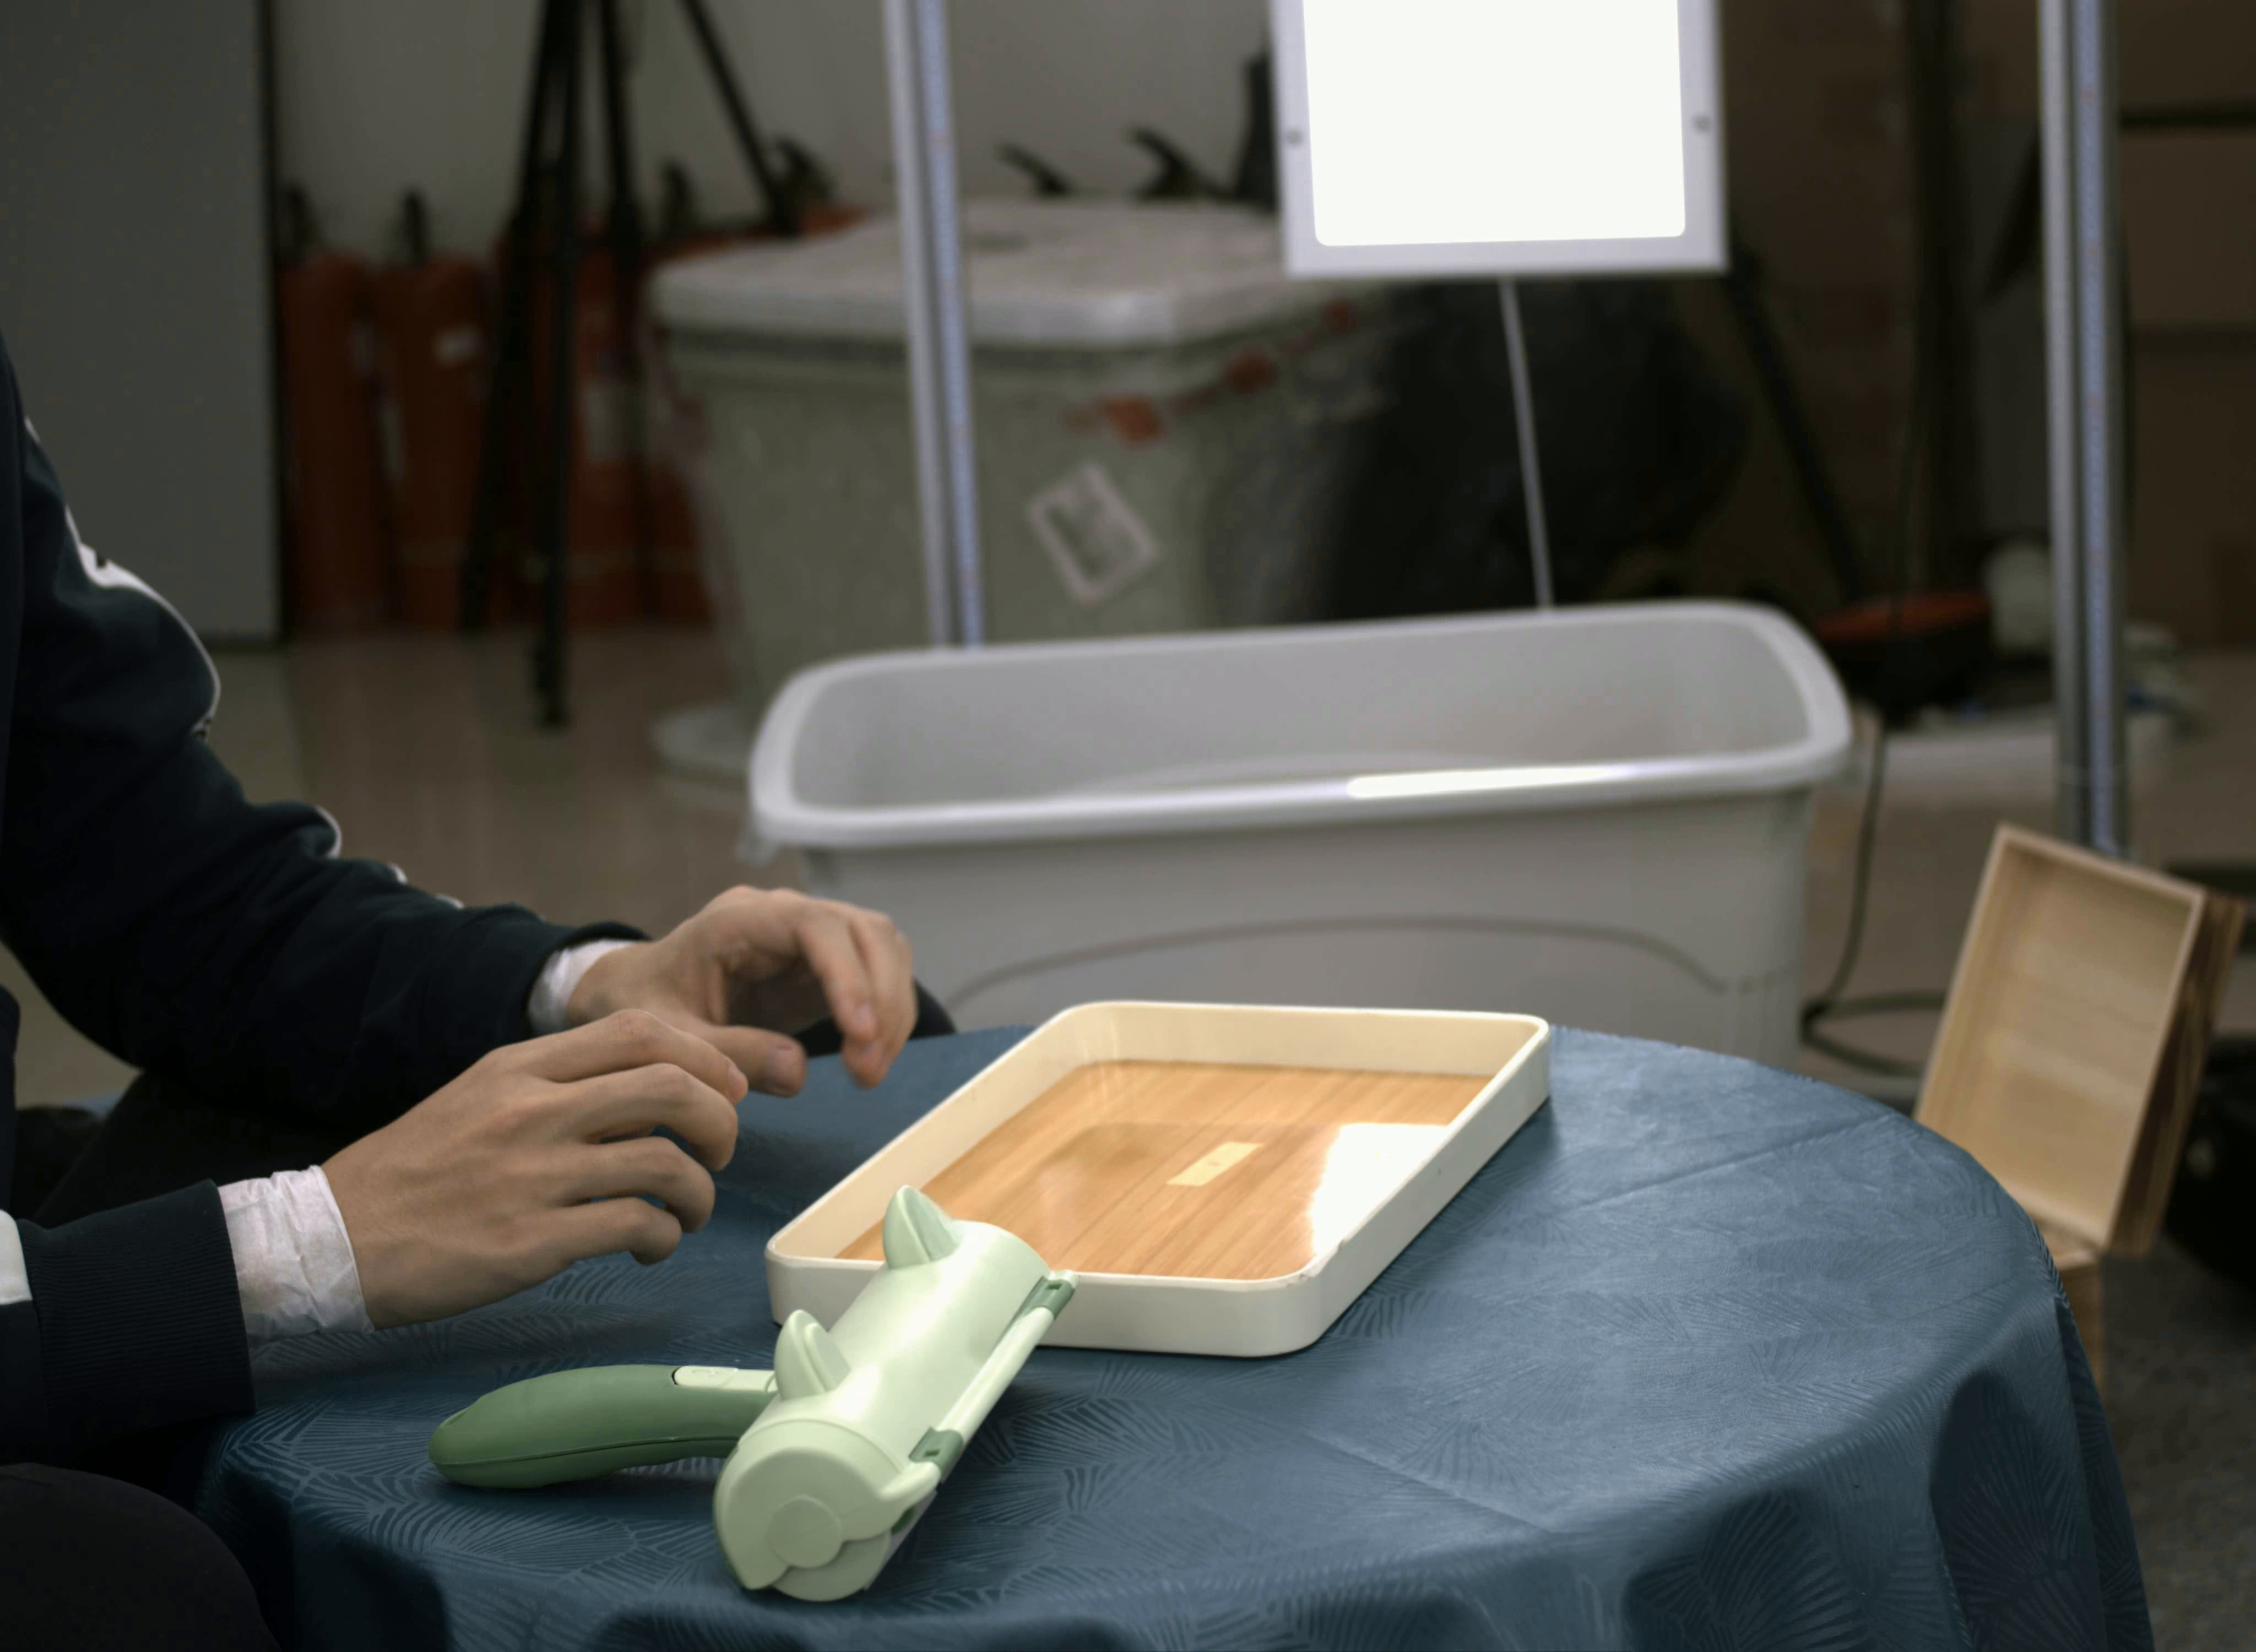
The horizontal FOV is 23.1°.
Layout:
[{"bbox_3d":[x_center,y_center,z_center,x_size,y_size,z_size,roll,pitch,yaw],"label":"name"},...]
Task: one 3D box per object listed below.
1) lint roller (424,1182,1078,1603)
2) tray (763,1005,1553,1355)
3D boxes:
[{"bbox_3d":[-0.124,0.160,1.641,0.185,0.082,0.196,3,15,14],"label":"lint roller"},{"bbox_3d":[0.017,0.116,1.875,0.194,0.027,0.295,0,15,22],"label":"tray"}]
